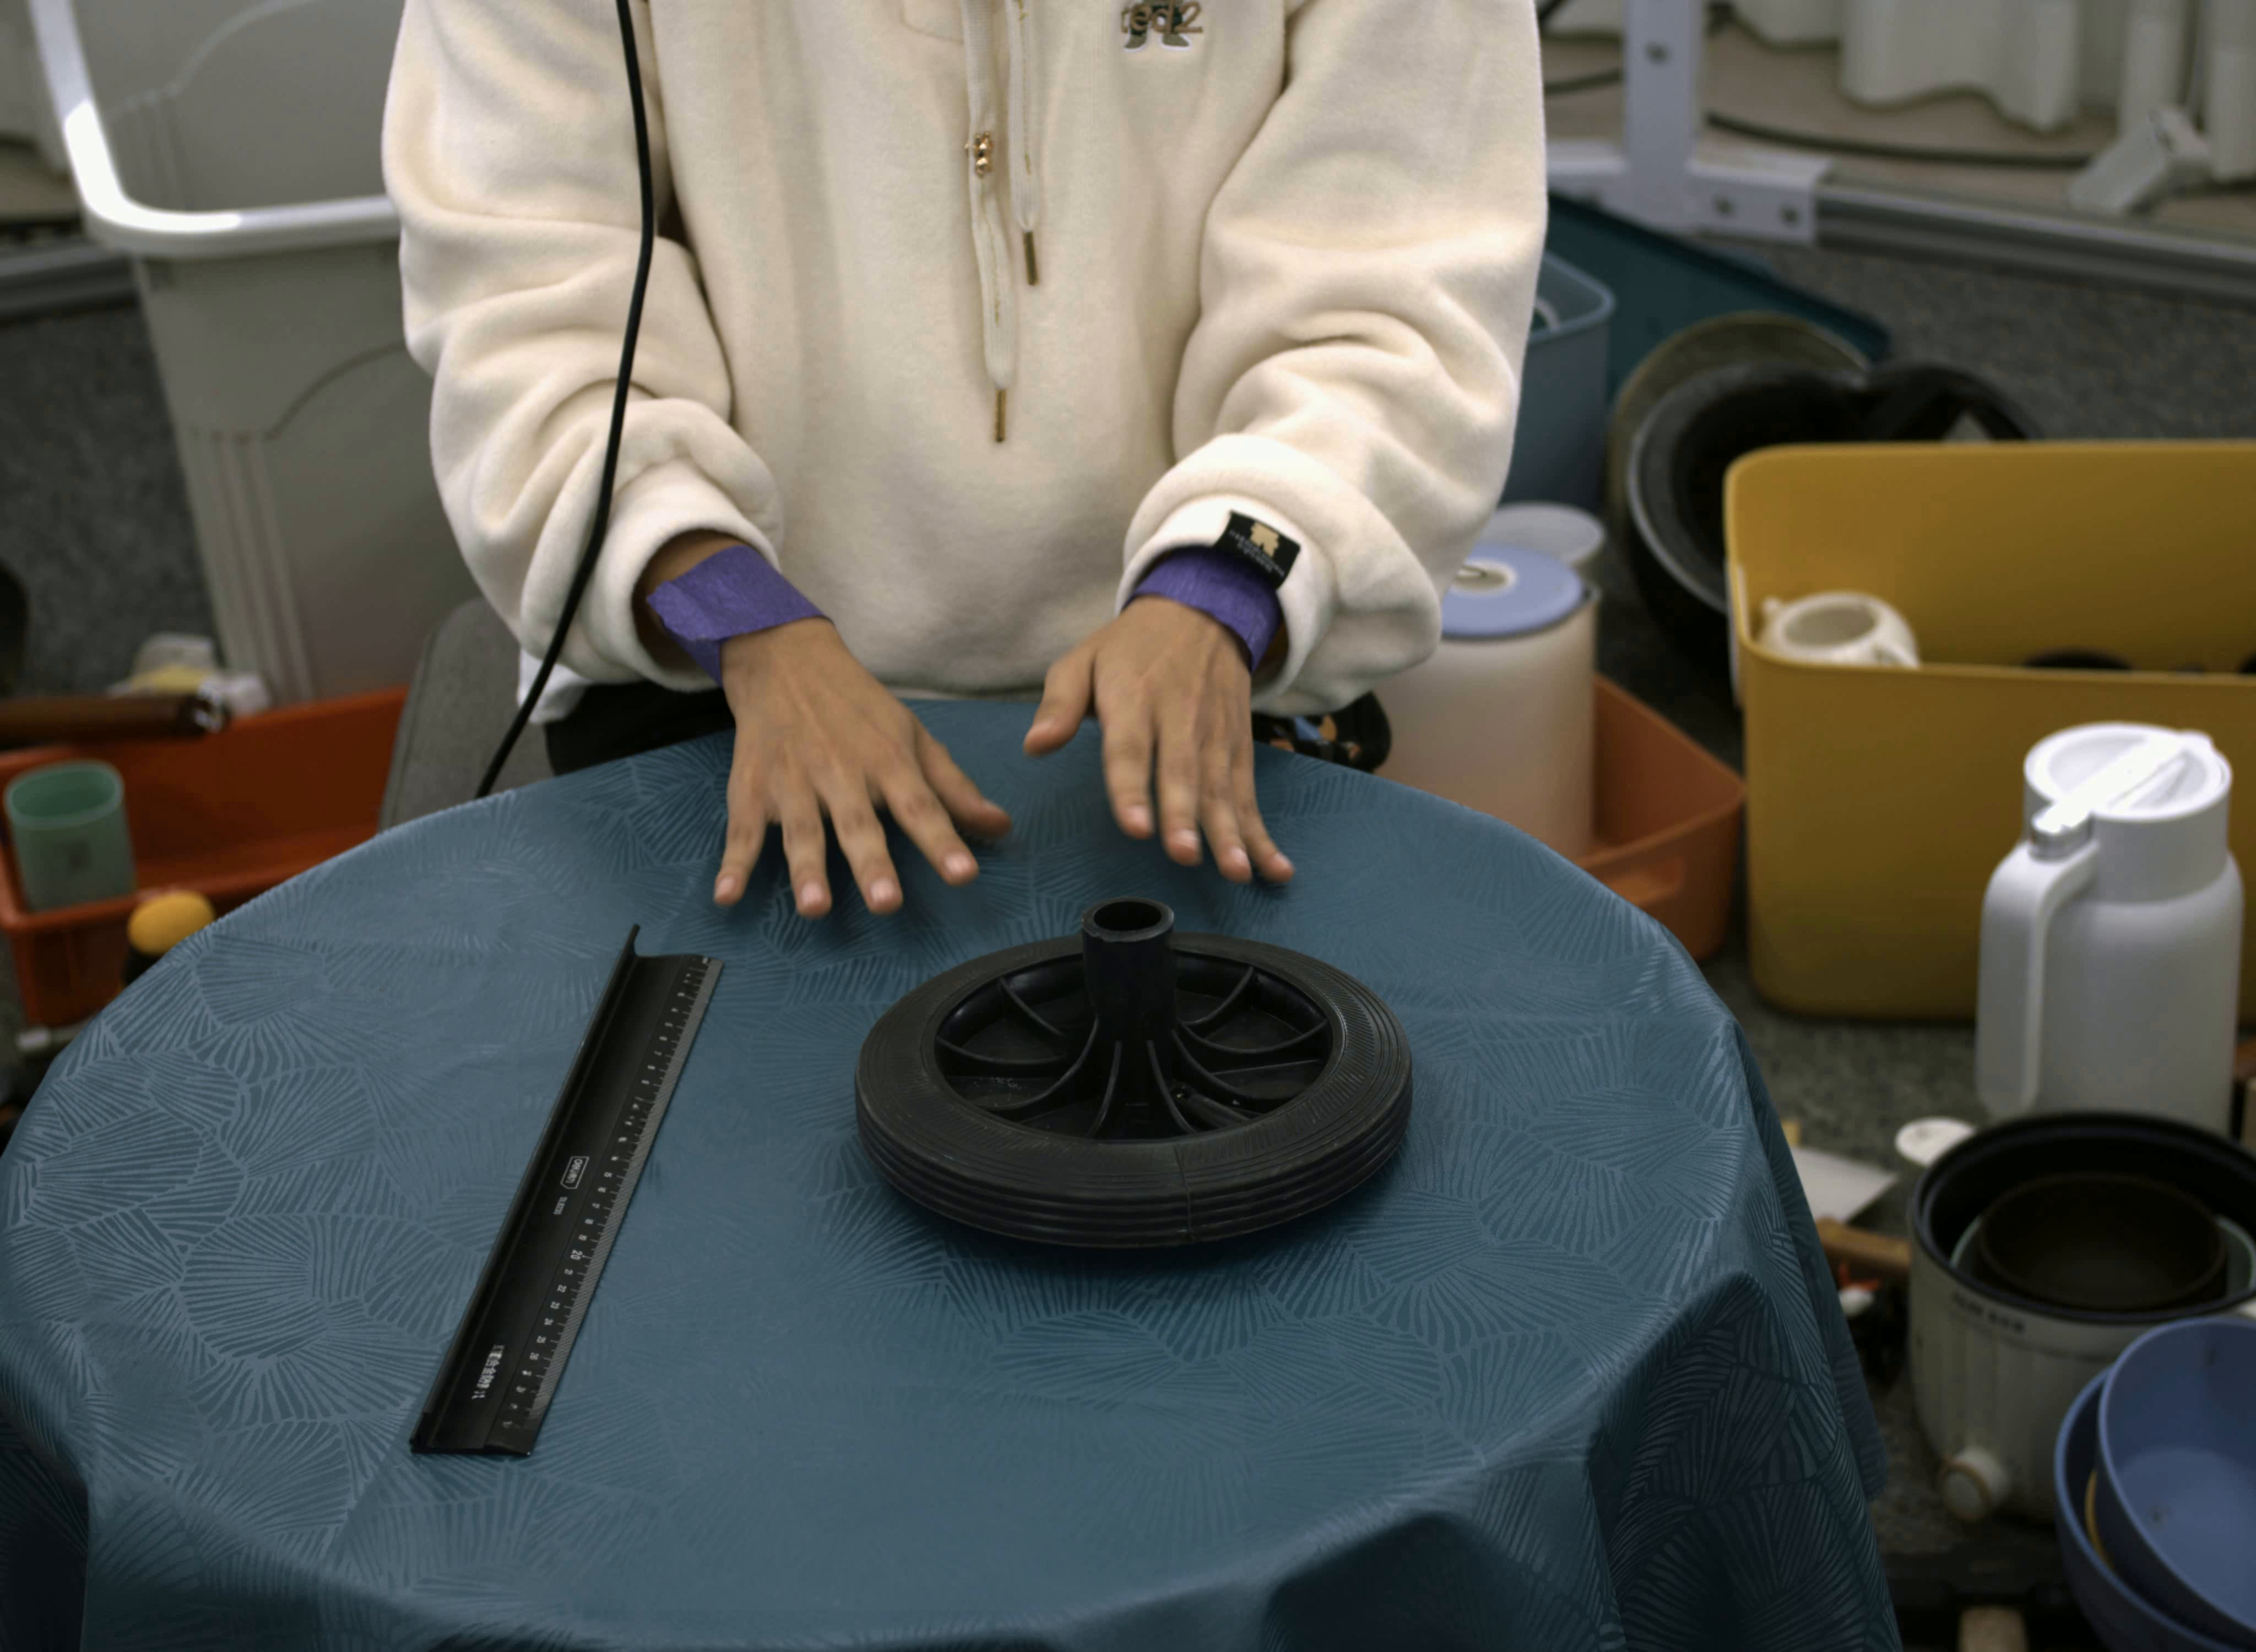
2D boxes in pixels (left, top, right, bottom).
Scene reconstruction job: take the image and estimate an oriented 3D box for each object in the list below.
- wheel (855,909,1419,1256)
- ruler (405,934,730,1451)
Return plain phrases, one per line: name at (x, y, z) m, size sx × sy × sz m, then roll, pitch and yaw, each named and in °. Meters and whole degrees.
wheel at (0.002, 0.070, 1.879) m, size 0.188 × 0.078 × 0.190 m, roll 10°, pitch 28°, yaw 23°
ruler at (-0.183, 0.116, 1.872) m, size 0.039 × 0.017 × 0.318 m, roll 5°, pitch 28°, yaw 7°
